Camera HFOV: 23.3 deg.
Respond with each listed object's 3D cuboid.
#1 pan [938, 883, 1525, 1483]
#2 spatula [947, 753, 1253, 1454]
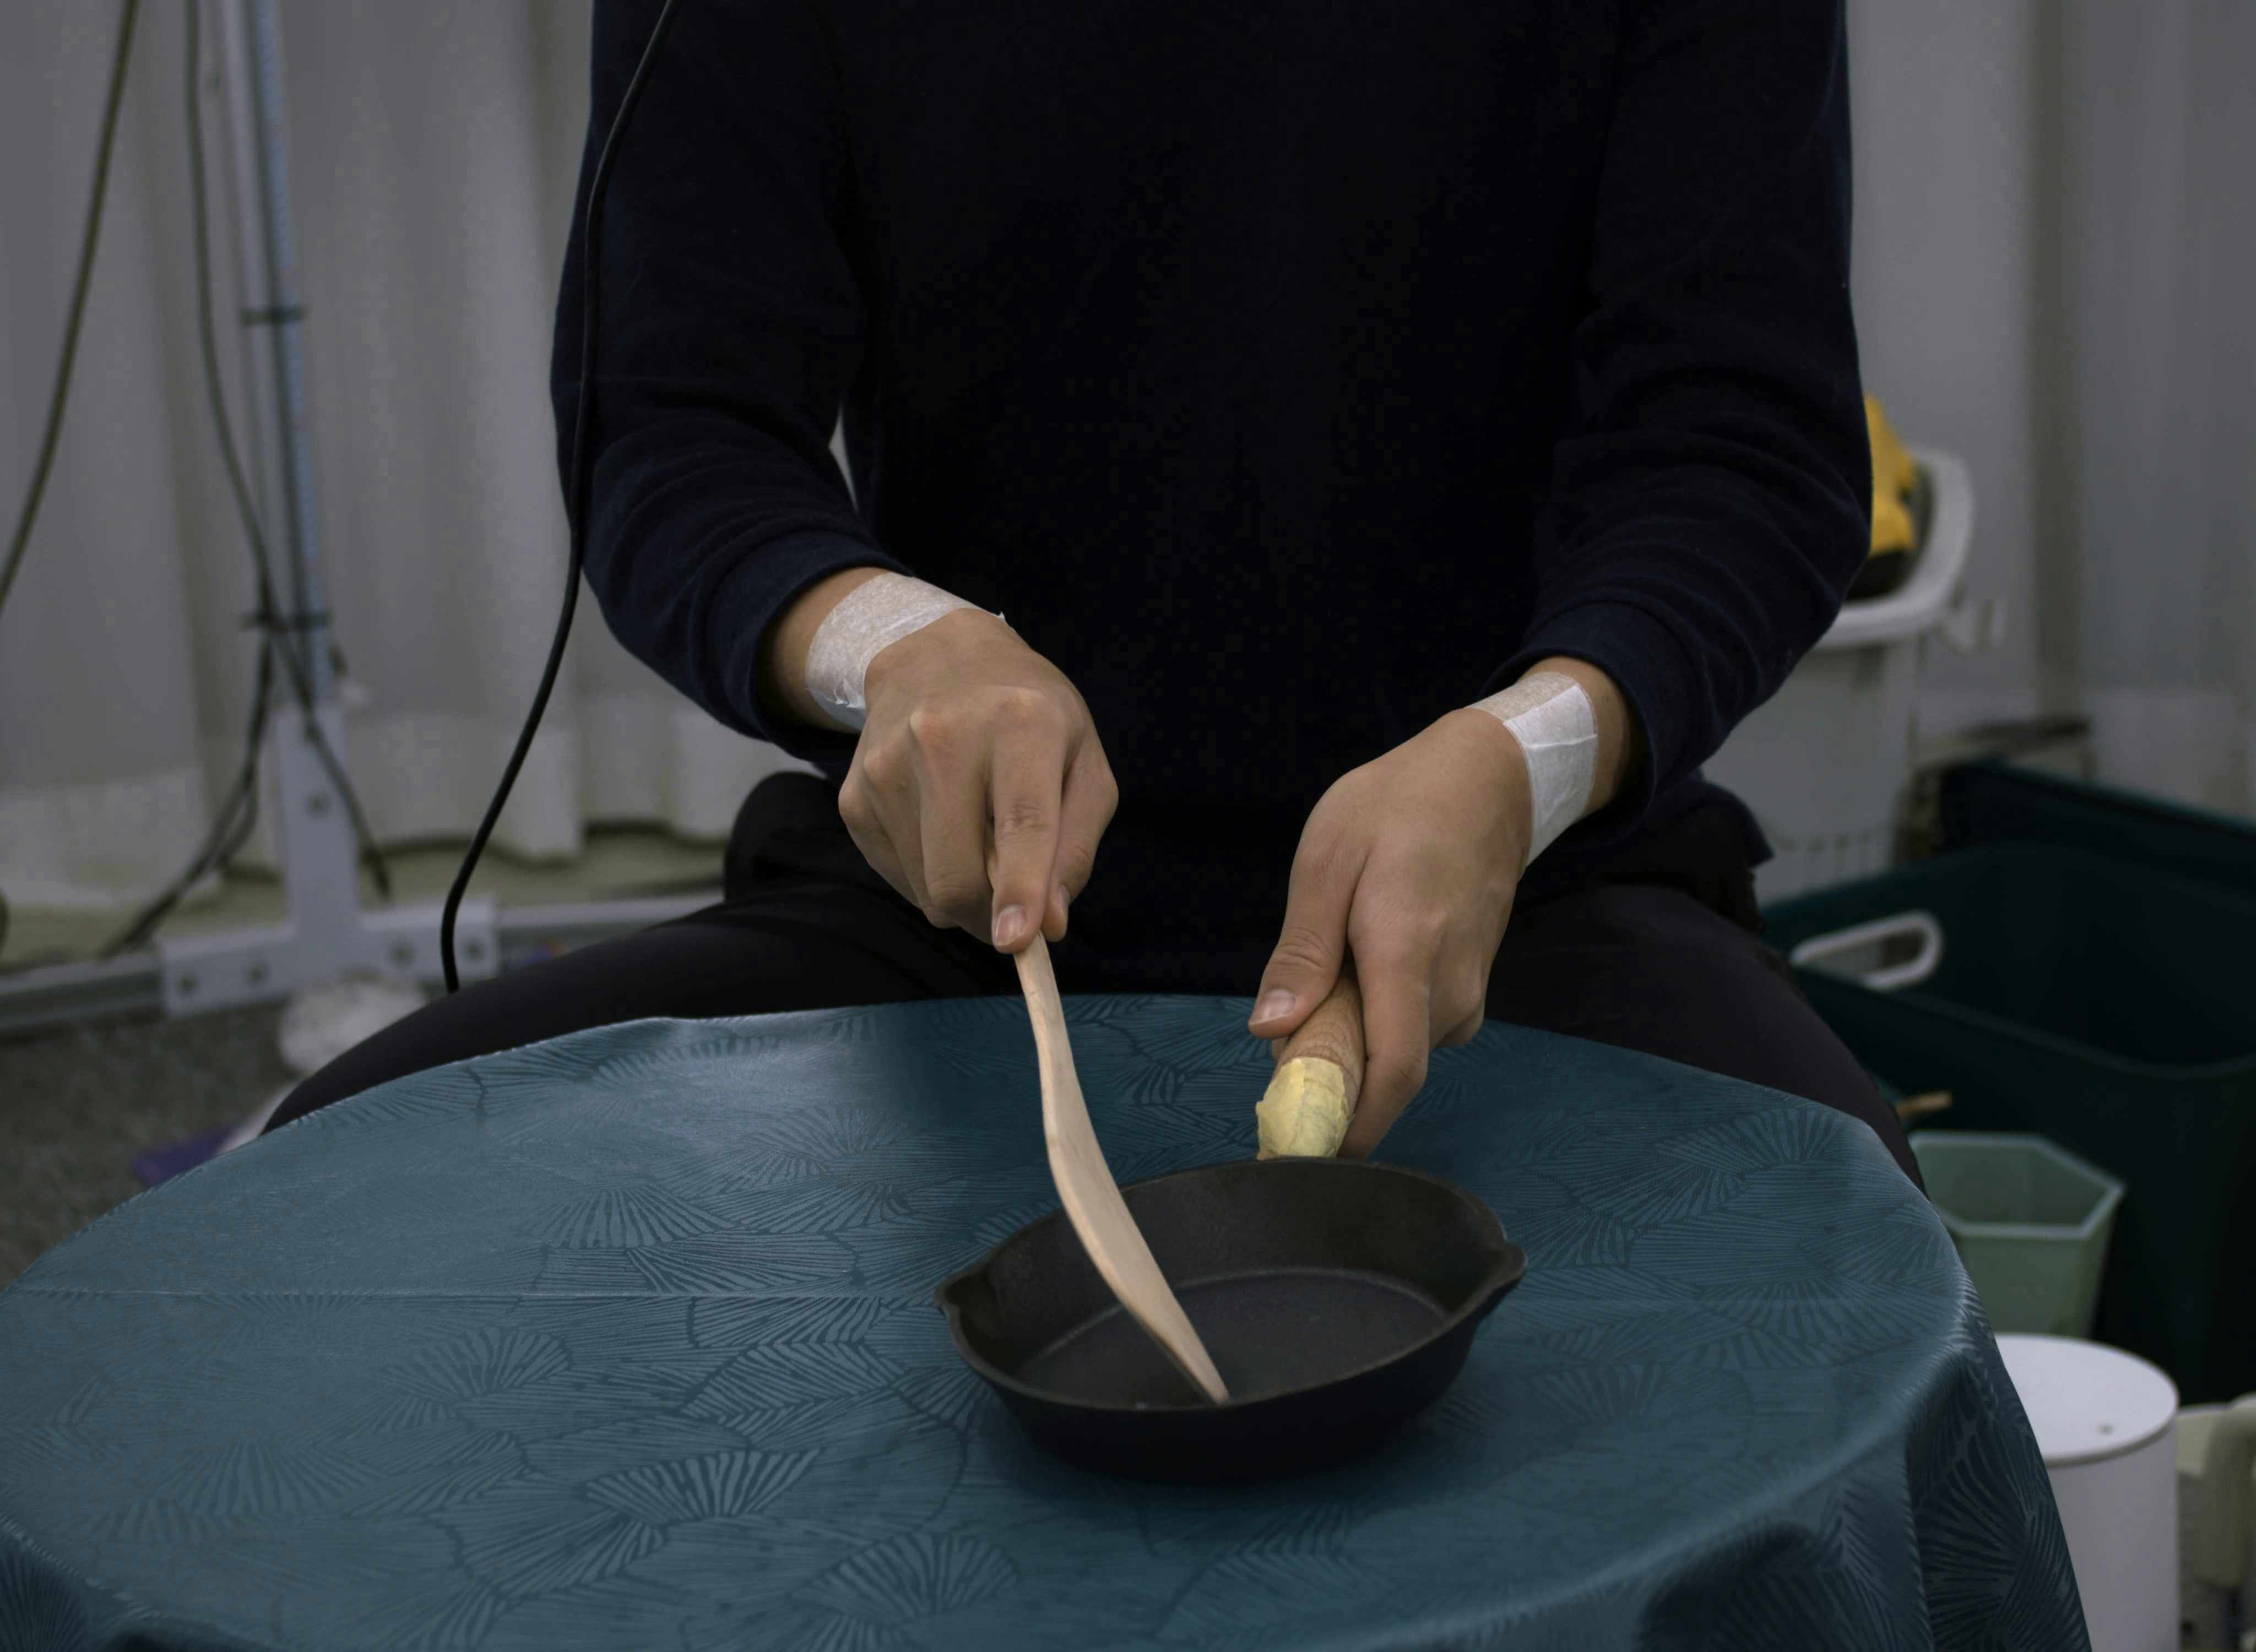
[{"bbox_3d":[0.049,0.101,1.598,0.169,0.049,0.326,-3,22,16],"label":"pan"},{"bbox_3d":[-0.016,0.068,1.584,0.016,0.079,0.332,-32,33,8],"label":"spatula"}]
